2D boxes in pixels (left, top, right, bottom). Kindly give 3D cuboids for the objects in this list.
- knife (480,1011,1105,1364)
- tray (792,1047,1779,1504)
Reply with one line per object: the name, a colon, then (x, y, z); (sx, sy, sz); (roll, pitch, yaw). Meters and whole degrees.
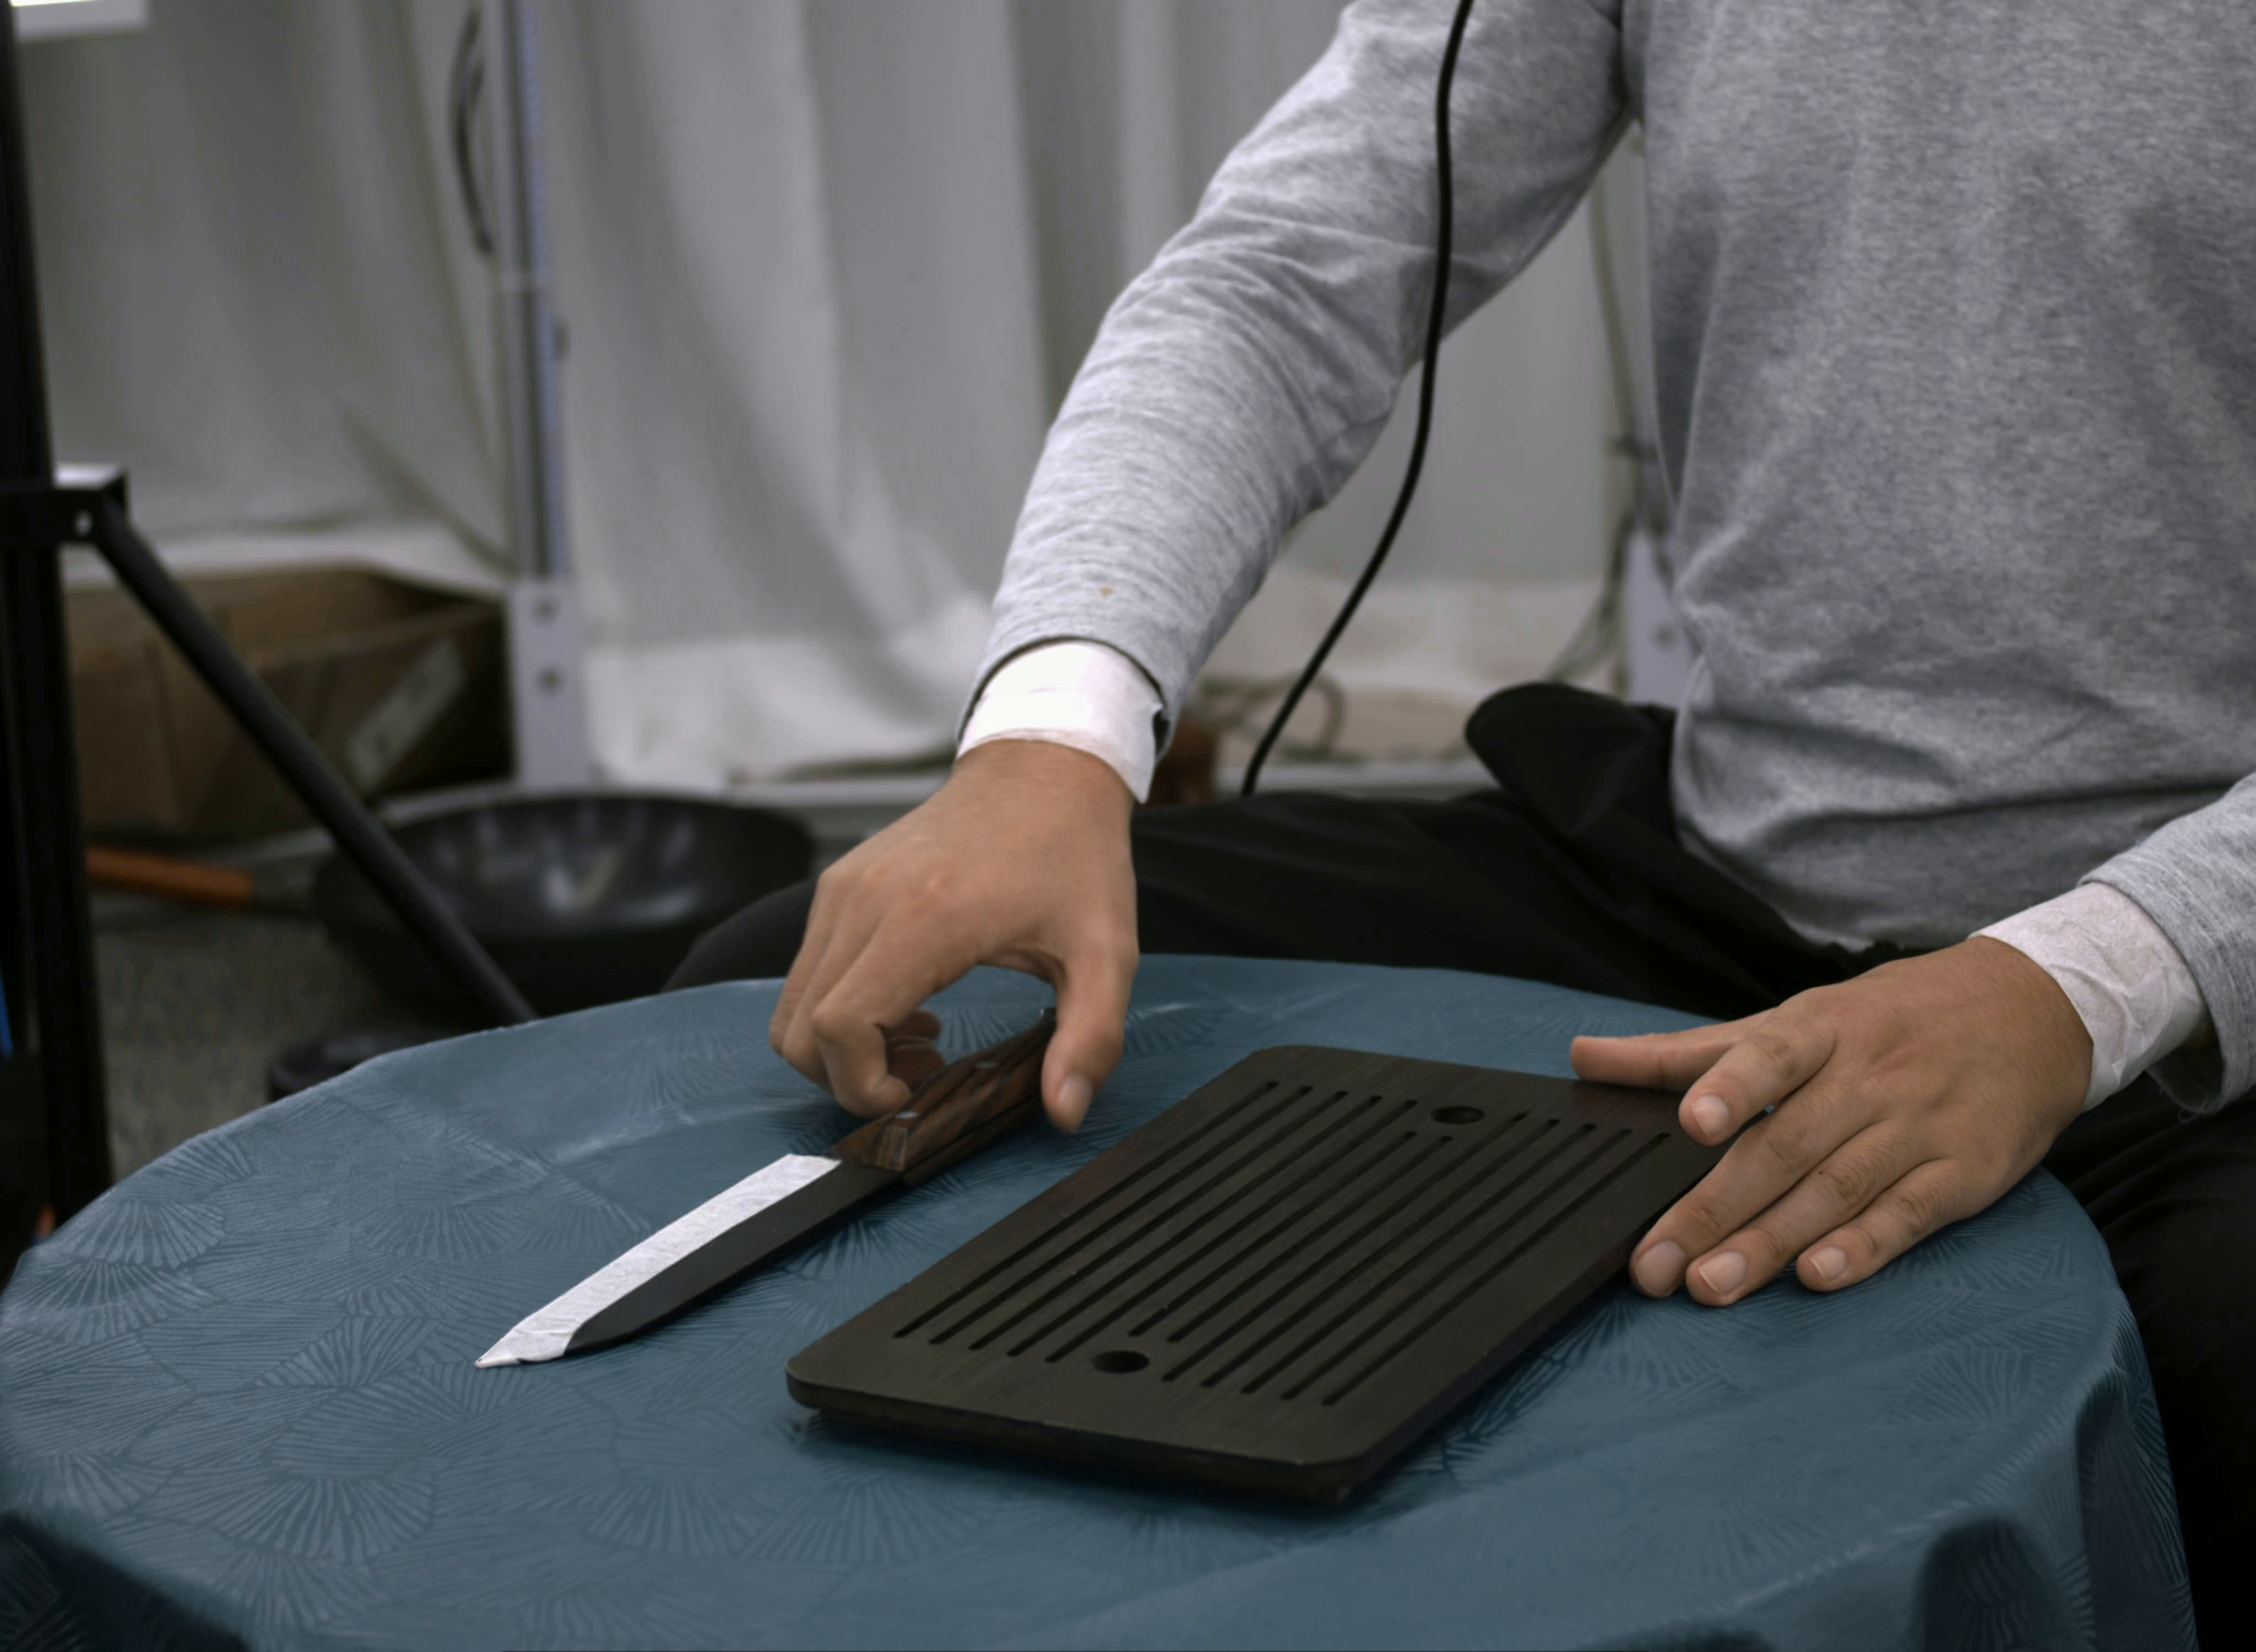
knife: (-0.093, 0.106, 1.556); (0.051, 0.020, 0.283); (3, 18, 35)
tray: (0.052, 0.121, 1.476); (0.173, 0.018, 0.300); (6, 17, 28)
